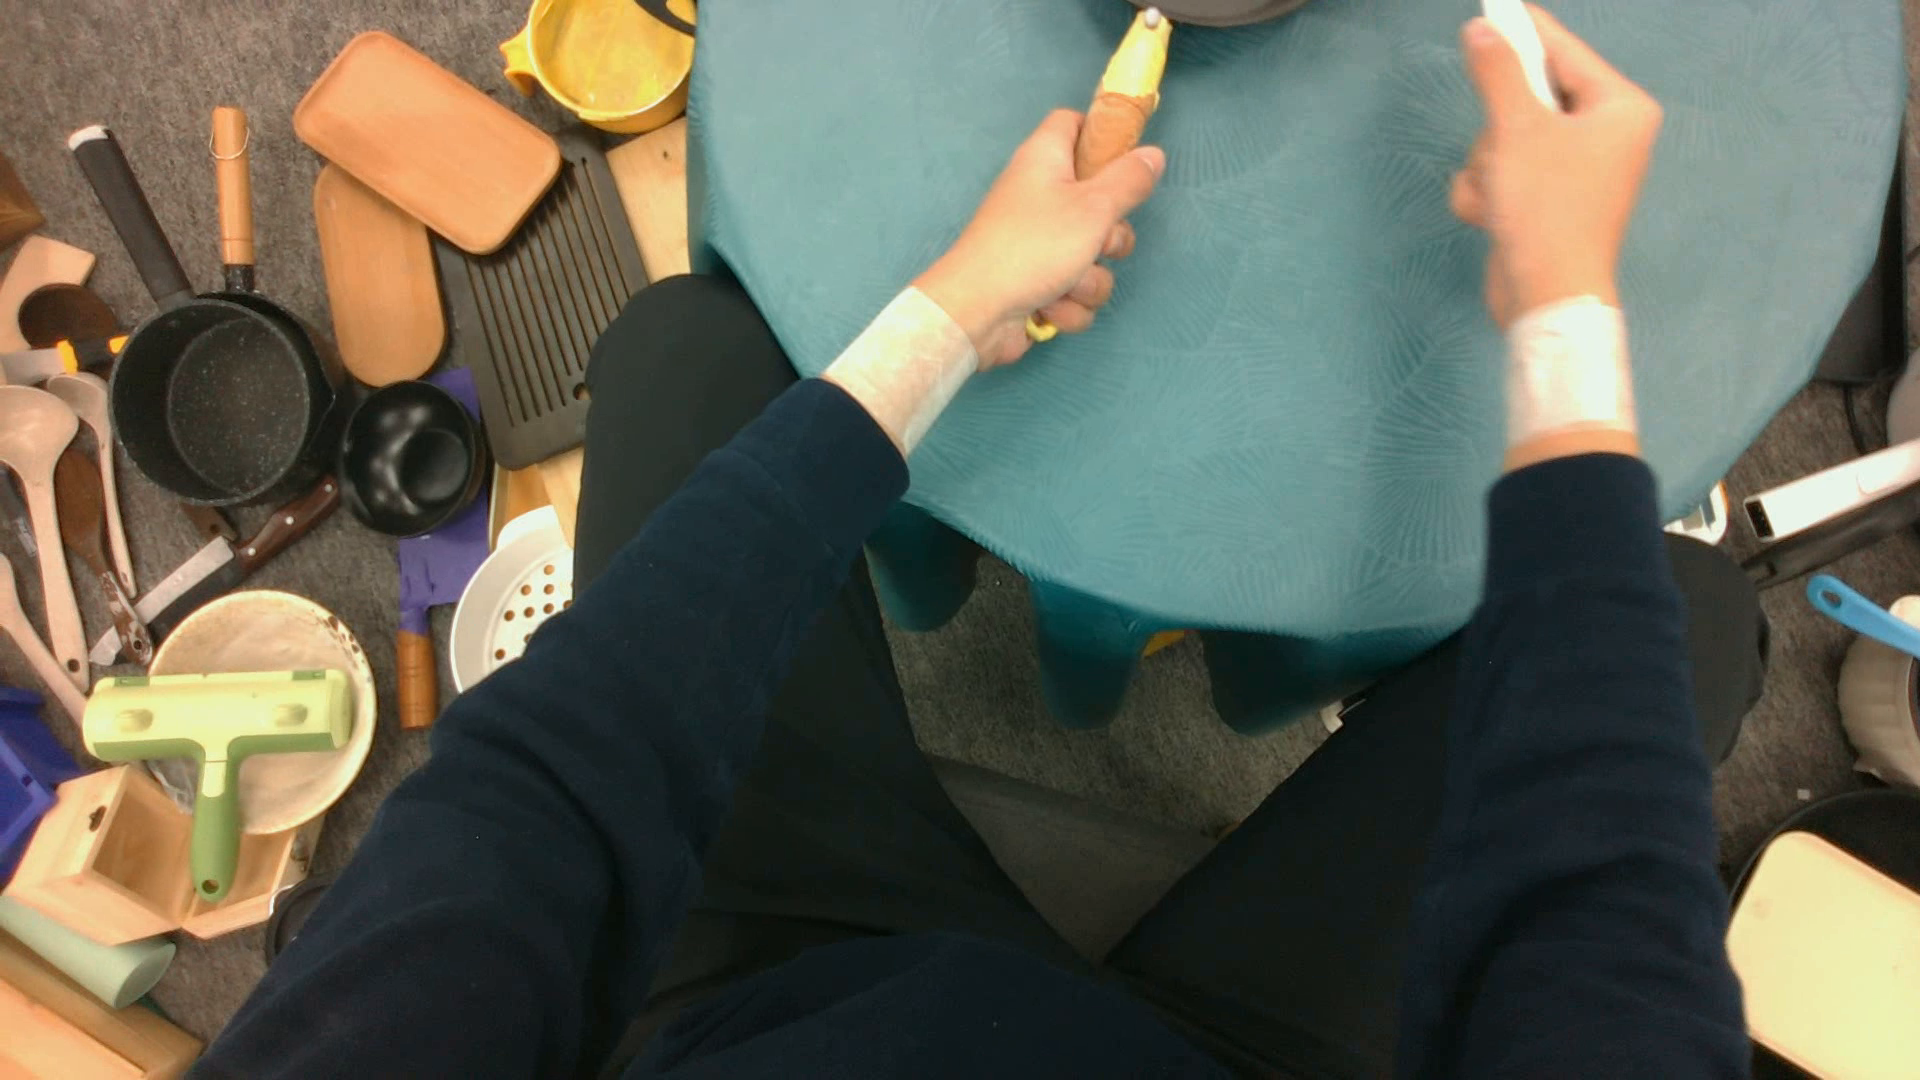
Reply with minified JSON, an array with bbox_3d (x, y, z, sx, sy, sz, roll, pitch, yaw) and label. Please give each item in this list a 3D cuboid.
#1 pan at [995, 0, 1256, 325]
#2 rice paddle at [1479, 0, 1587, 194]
[{"bbox_3d":[0.075,-0.246,0.653,0.169,0.049,0.325,21,79,1],"label":"pan"},{"bbox_3d":[0.247,-0.258,0.621,0.029,0.069,0.205,-14,78,34],"label":"rice paddle"}]
